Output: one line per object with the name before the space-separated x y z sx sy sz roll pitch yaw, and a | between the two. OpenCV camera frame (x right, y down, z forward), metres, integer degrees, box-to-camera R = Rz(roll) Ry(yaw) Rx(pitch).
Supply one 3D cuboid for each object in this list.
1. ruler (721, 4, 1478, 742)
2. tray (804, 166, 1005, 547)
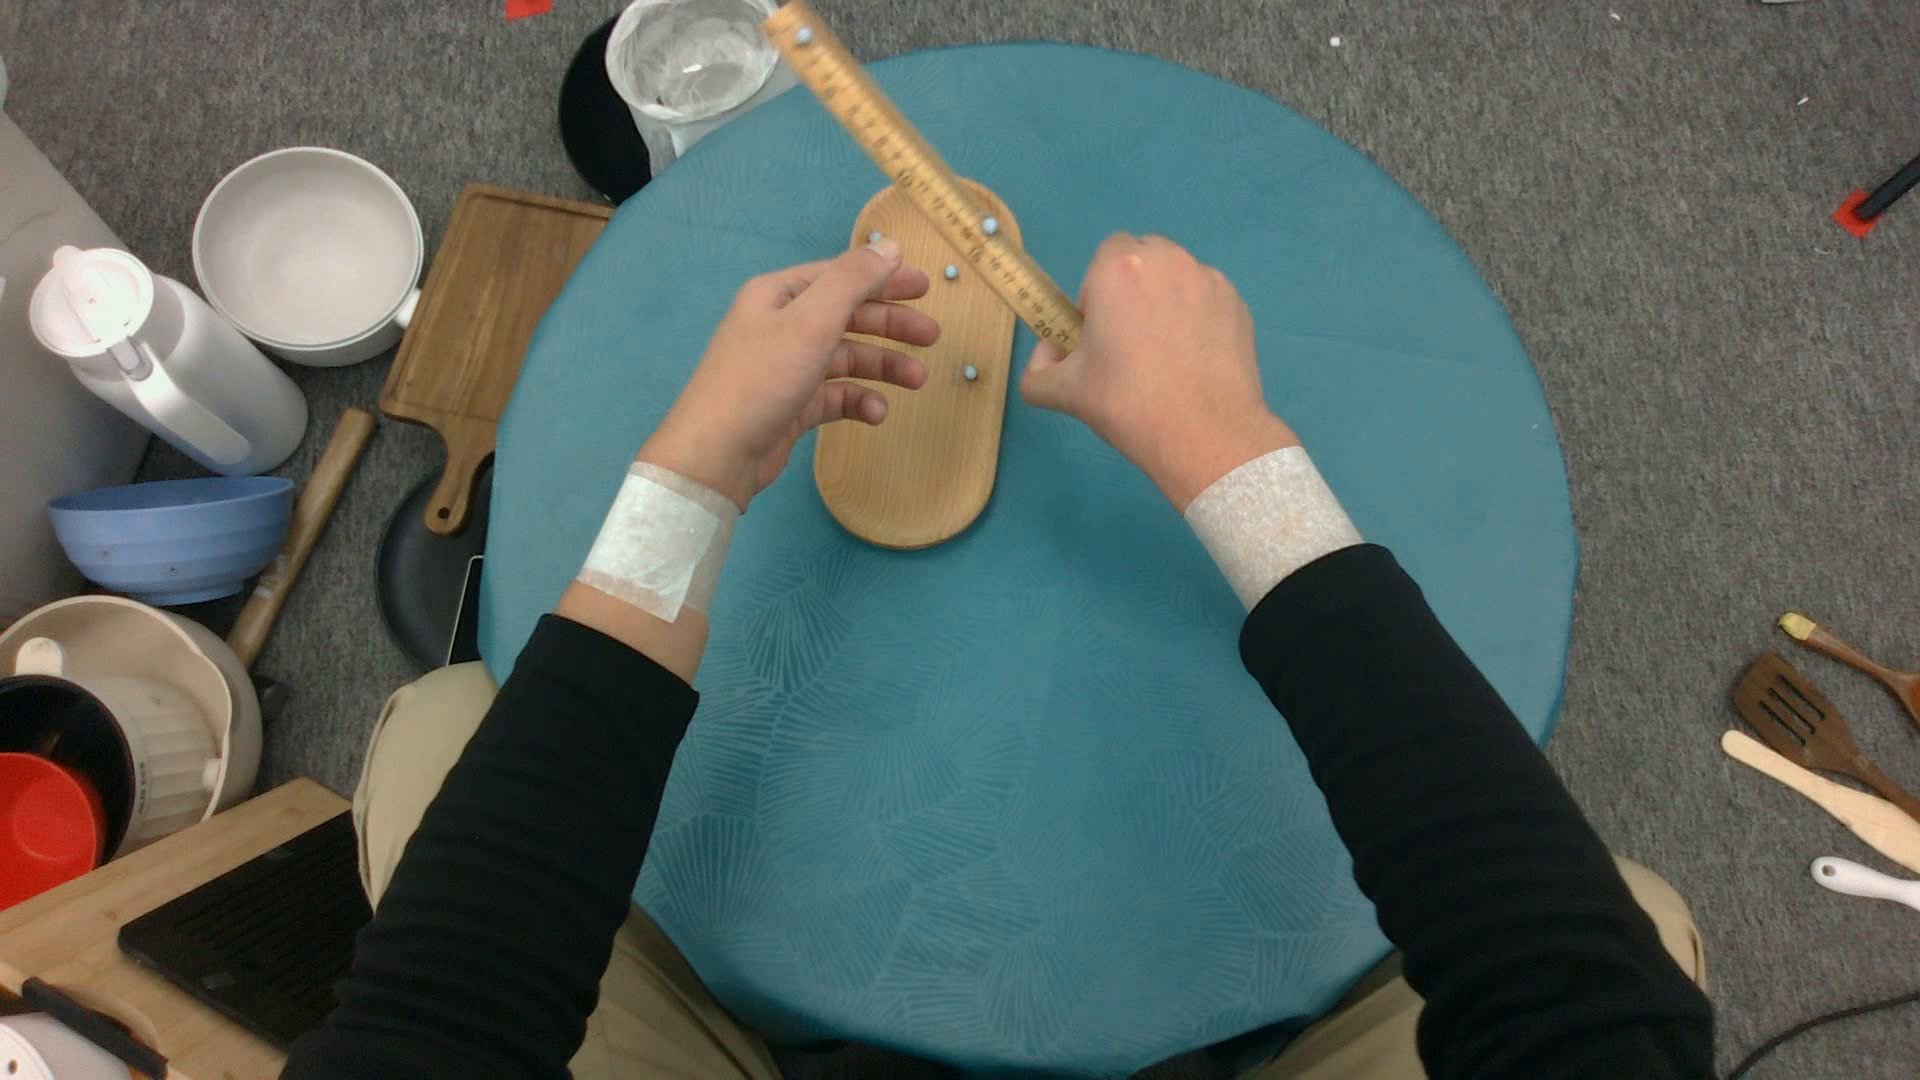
ruler | 0.071 -0.079 0.677 0.500 0.006 0.027 44 80 -3
tray | -0.029 -0.107 0.777 0.101 0.020 0.232 4 74 2
